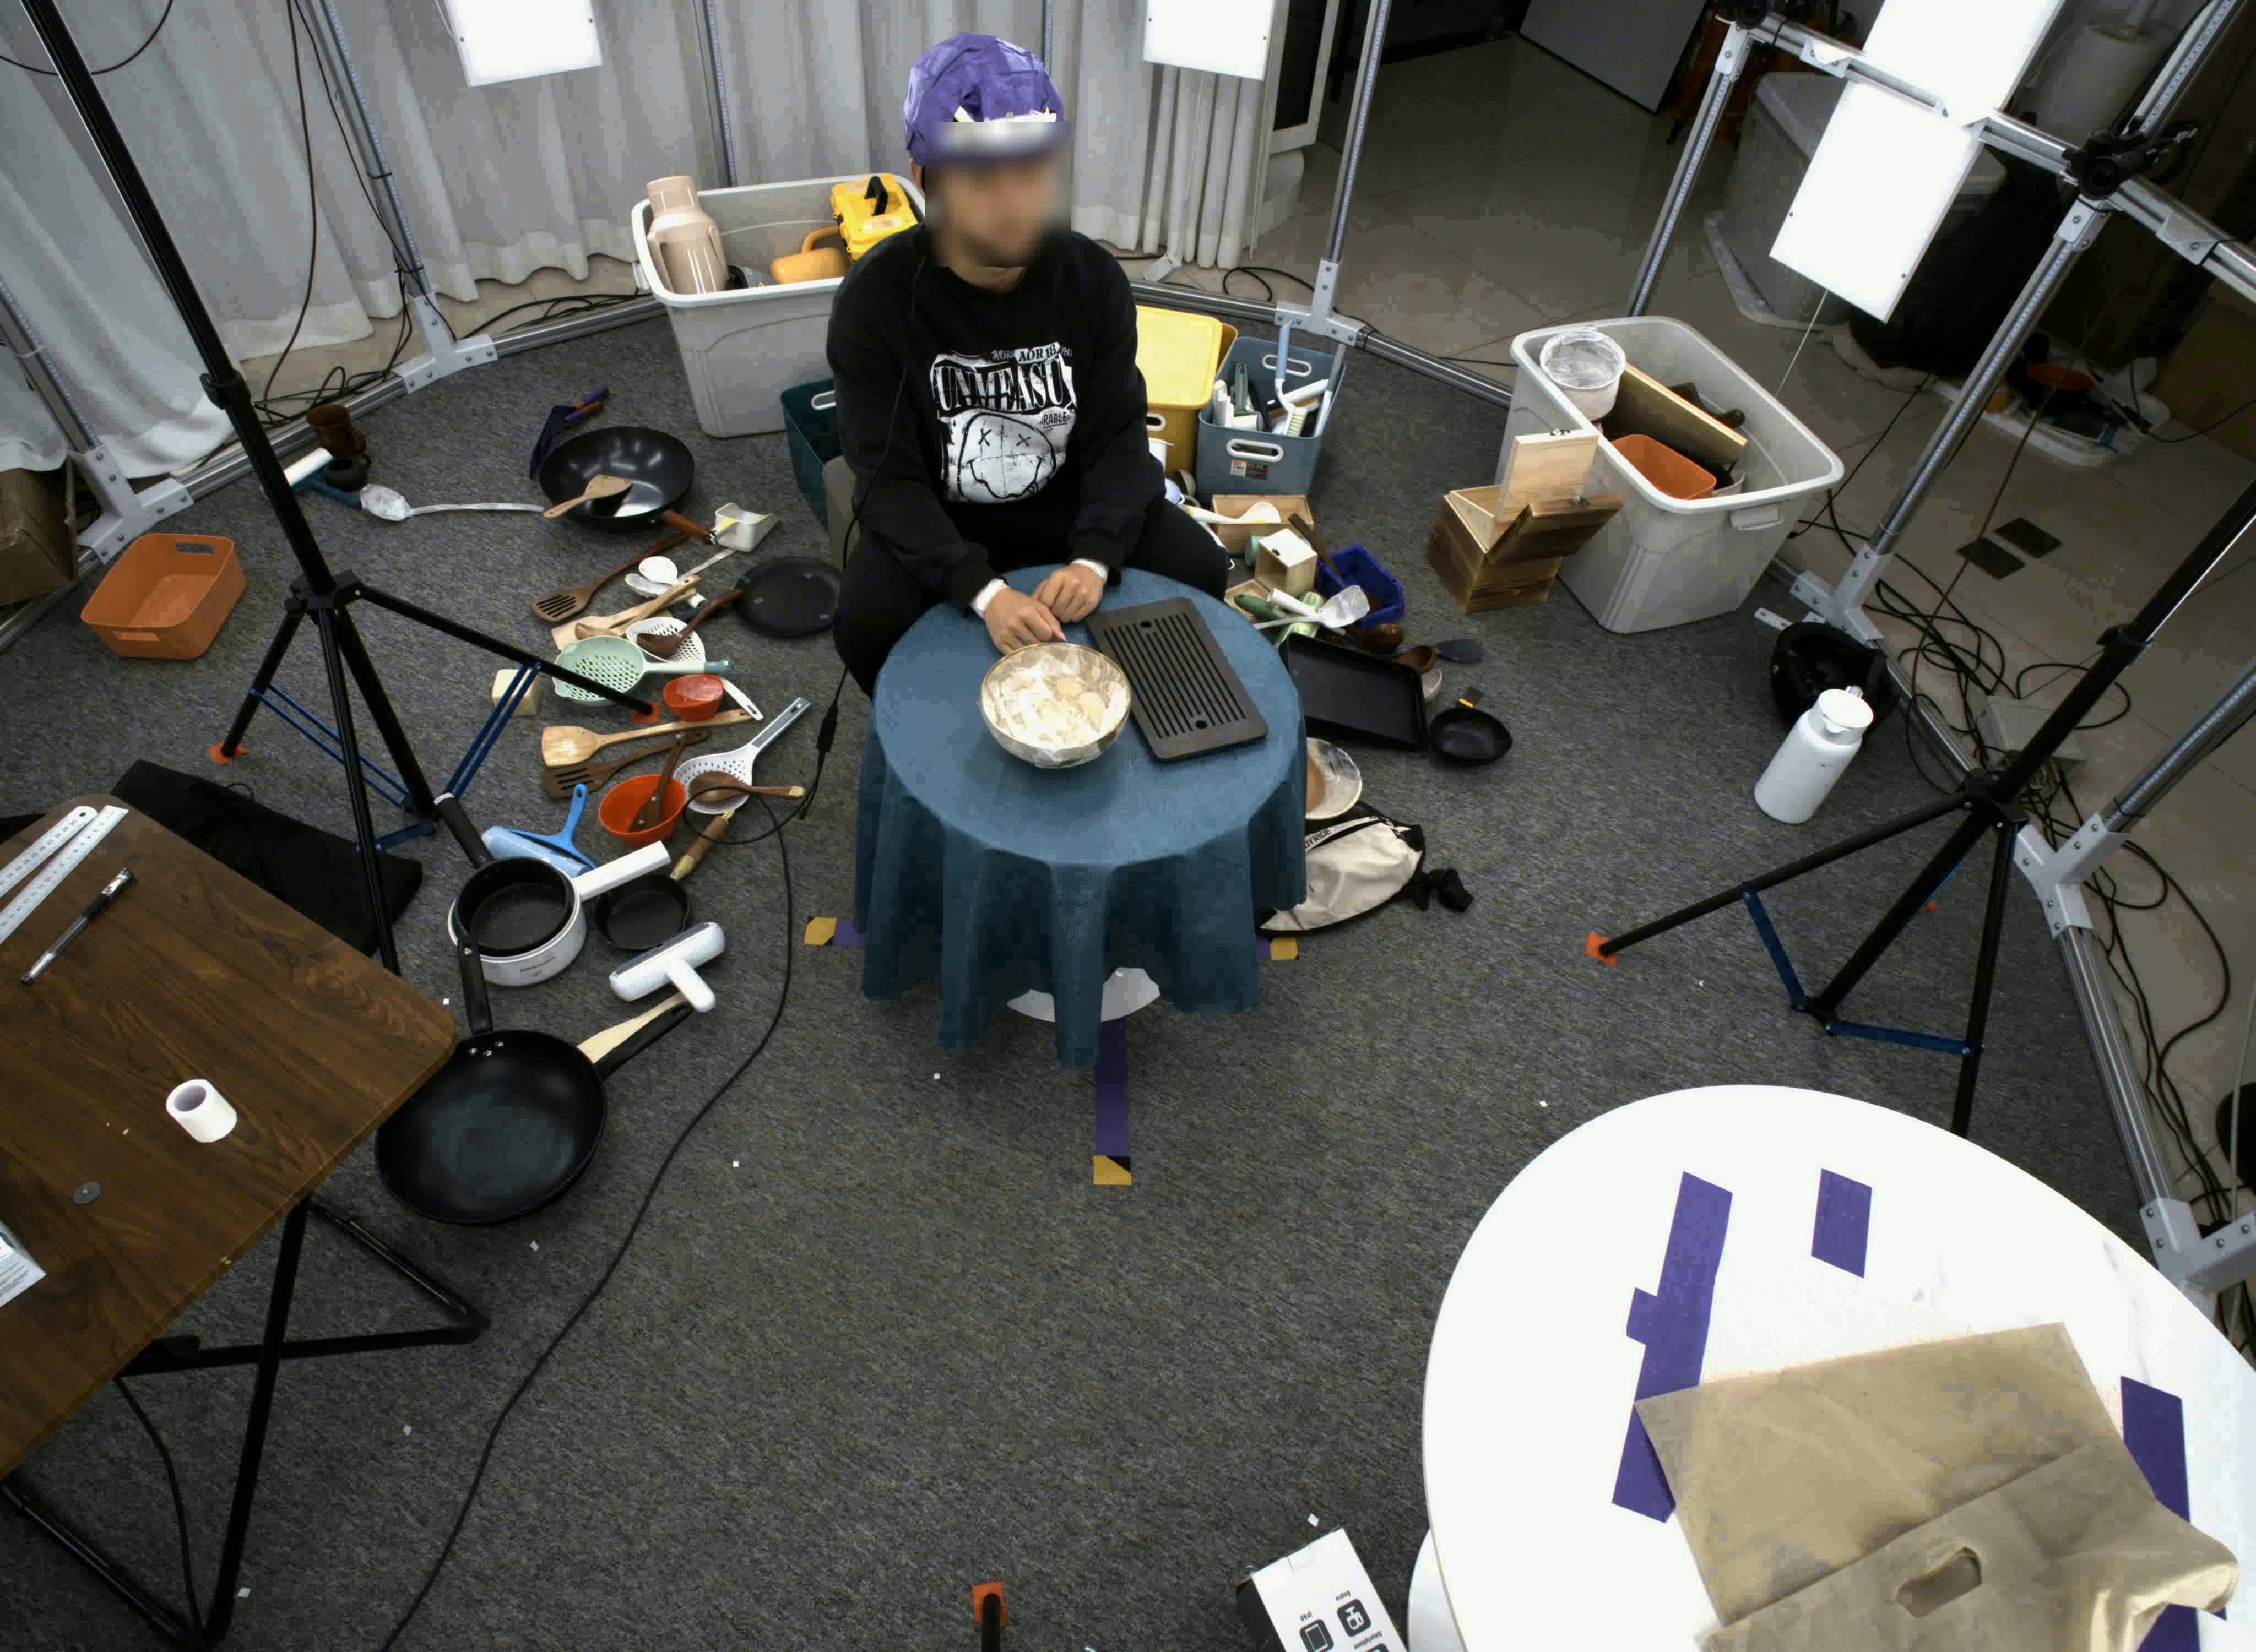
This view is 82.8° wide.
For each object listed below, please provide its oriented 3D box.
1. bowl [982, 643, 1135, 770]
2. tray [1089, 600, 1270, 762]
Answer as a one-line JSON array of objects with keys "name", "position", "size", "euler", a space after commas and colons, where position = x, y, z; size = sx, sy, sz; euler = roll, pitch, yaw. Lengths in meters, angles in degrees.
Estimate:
[{"name": "bowl", "position": [-0.093, -0.150, 1.748], "size": [0.214, 0.092, 0.220], "euler": [1, 49, -1]}, {"name": "tray", "position": [0.070, -0.215, 1.865], "size": [0.170, 0.018, 0.313], "euler": [-13, 51, -15]}]
